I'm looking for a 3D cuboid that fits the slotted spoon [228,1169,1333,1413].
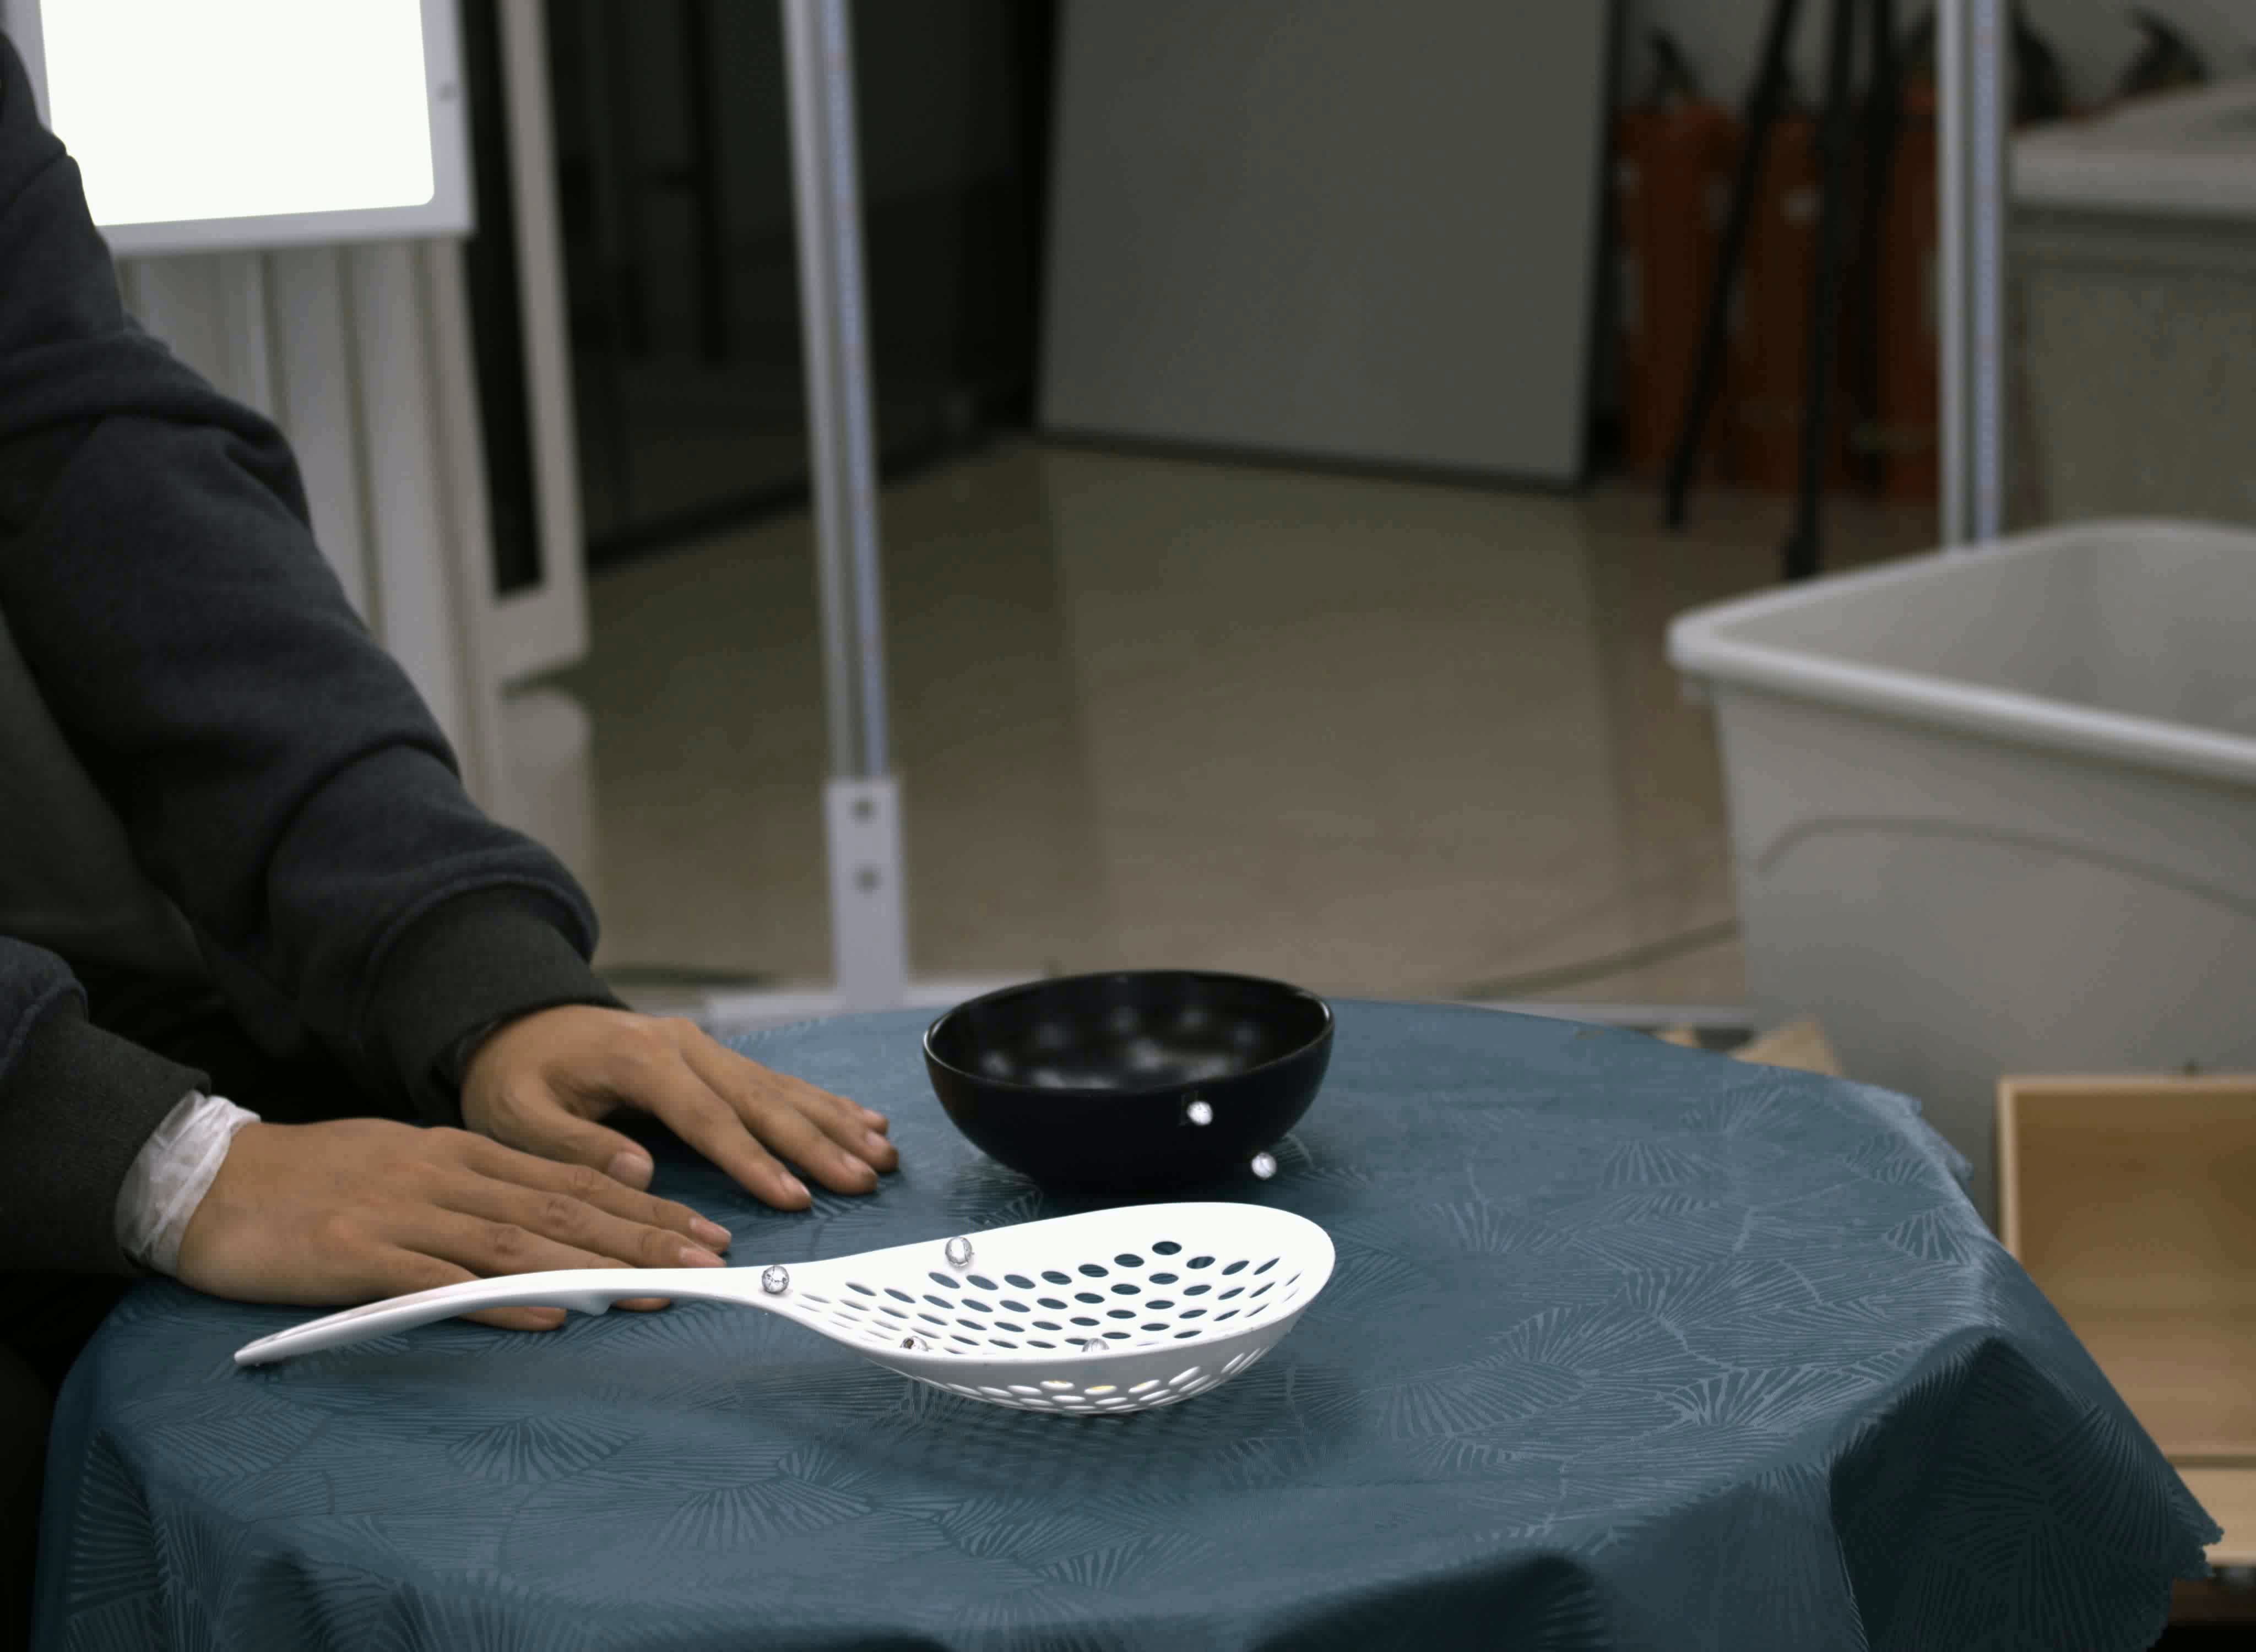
[{"bbox_3d":[-0.107,0.148,1.607,0.346,0.051,0.136,-1,18,17],"label":"slotted spoon"}]
